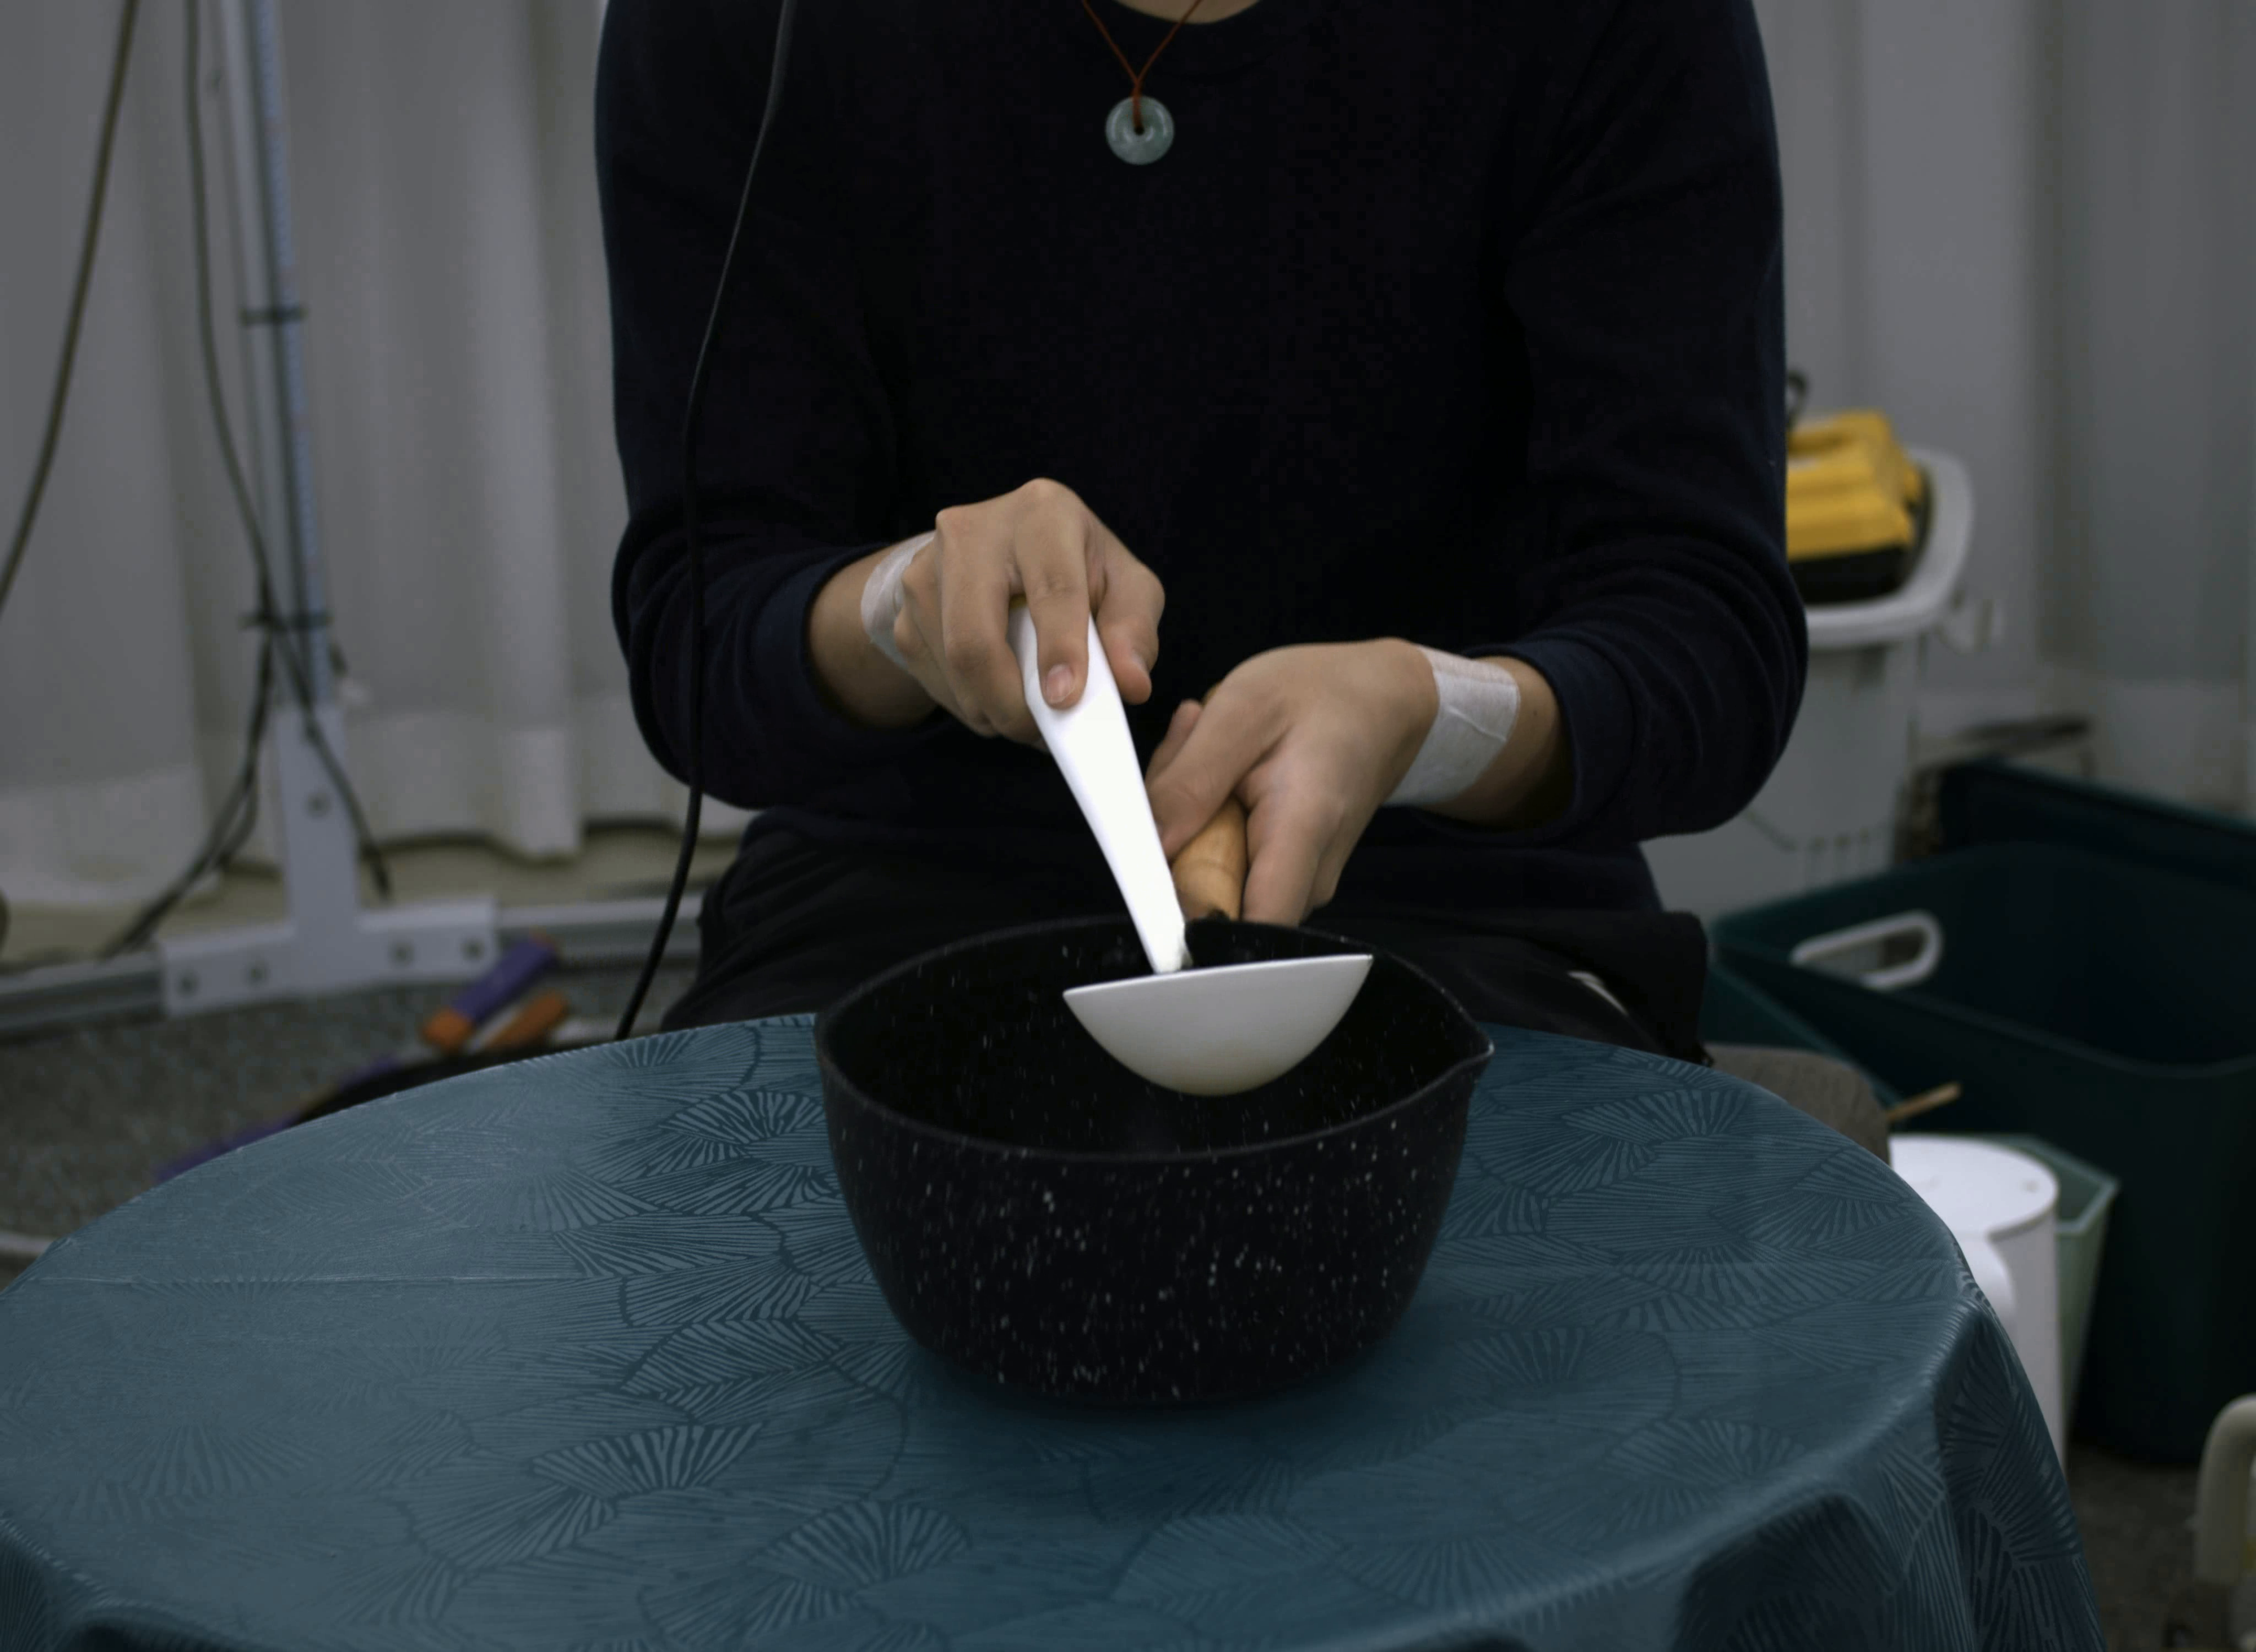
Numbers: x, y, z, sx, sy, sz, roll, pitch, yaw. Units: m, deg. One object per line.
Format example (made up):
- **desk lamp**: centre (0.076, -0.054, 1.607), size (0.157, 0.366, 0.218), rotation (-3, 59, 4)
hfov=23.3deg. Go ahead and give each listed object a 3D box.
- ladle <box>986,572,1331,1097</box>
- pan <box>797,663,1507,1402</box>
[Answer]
- **ladle**: centre (-0.006, -0.010, 1.659), size (0.090, 0.069, 0.297), rotation (-13, 33, -4)
- **pan**: centre (0.014, 0.057, 1.649), size (0.207, 0.107, 0.346), rotation (1, 21, 6)
